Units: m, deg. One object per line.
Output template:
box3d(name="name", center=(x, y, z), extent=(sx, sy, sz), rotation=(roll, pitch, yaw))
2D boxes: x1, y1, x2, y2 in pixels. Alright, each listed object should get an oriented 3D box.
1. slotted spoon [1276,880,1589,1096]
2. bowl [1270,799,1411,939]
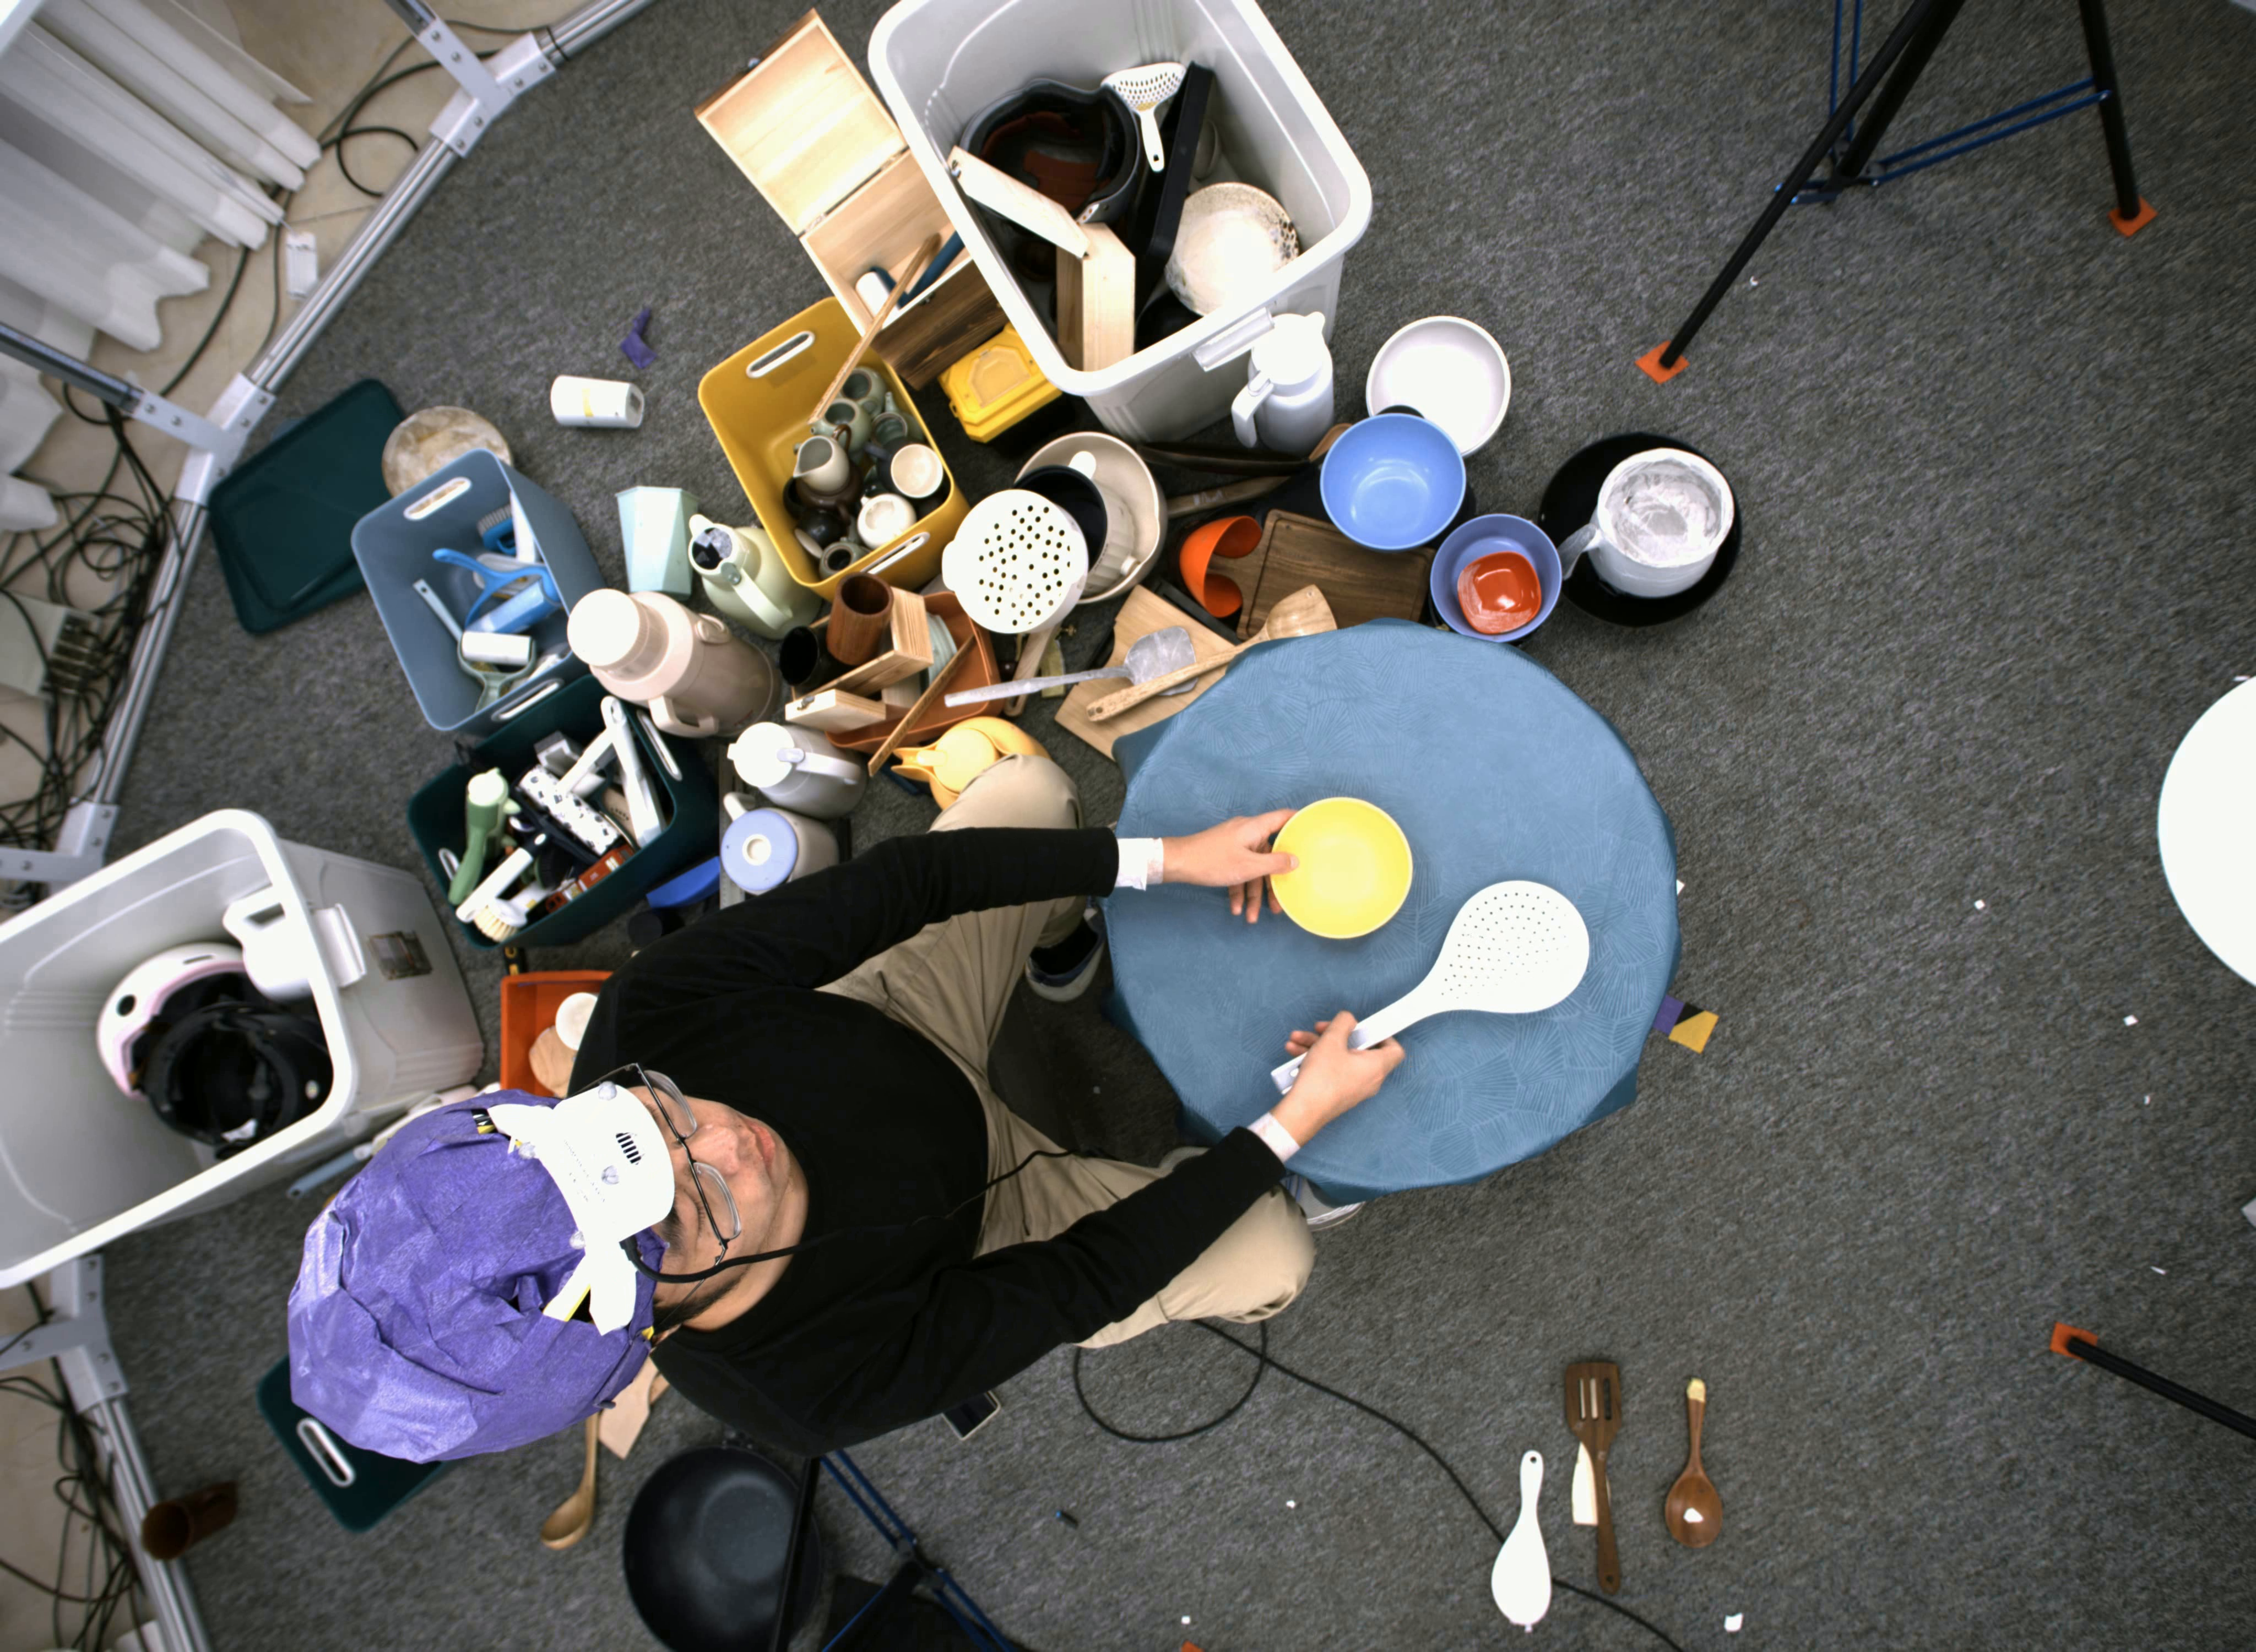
box3d(name="slotted spoon", center=(0.305, 0.174, 1.404), extent=(0.350, 0.046, 0.134), rotation=(-30, 61, 0))
box3d(name="bowl", center=(0.221, 0.046, 1.442), extent=(0.146, 0.060, 0.144), rotation=(-1, 84, 9))
